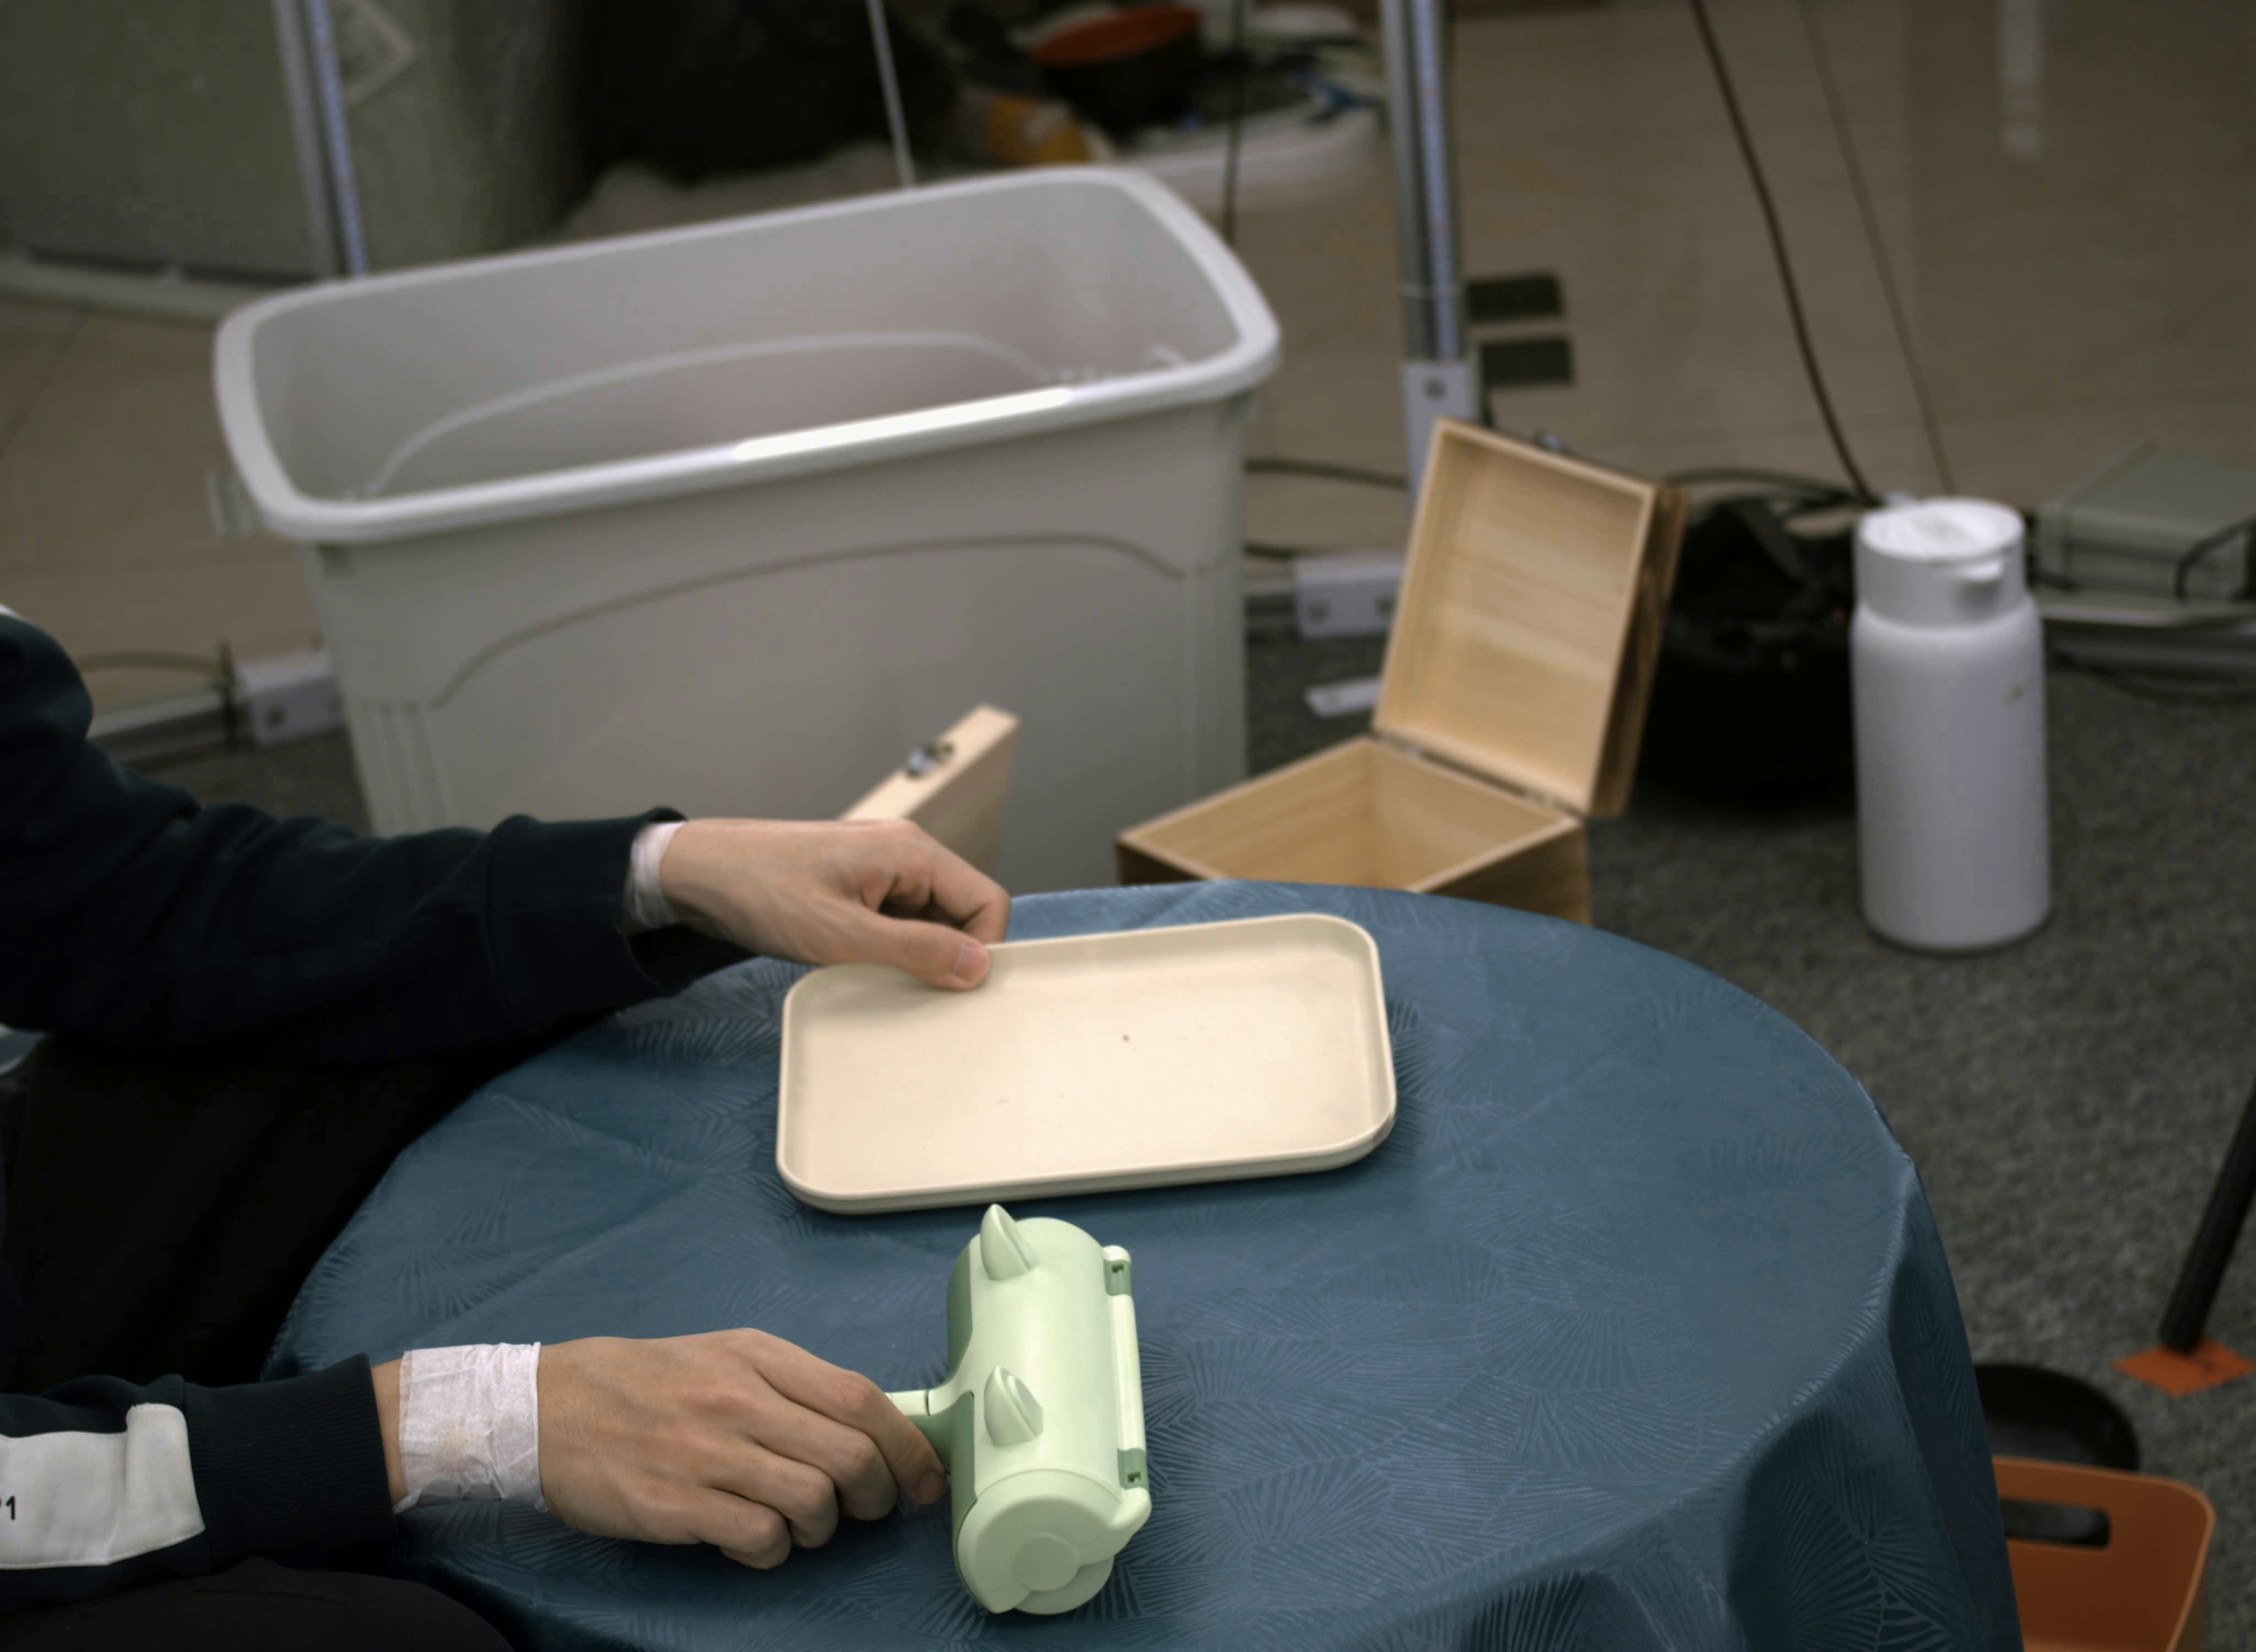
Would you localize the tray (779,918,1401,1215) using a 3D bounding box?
[{"bbox_3d":[-0.016,0.094,2.206,0.239,0.018,0.168,-6,30,1],"label":"tray"}]

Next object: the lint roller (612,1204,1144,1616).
[{"bbox_3d":[-0.088,0.196,1.949,0.183,0.083,0.195,-2,25,-1],"label":"lint roller"}]
